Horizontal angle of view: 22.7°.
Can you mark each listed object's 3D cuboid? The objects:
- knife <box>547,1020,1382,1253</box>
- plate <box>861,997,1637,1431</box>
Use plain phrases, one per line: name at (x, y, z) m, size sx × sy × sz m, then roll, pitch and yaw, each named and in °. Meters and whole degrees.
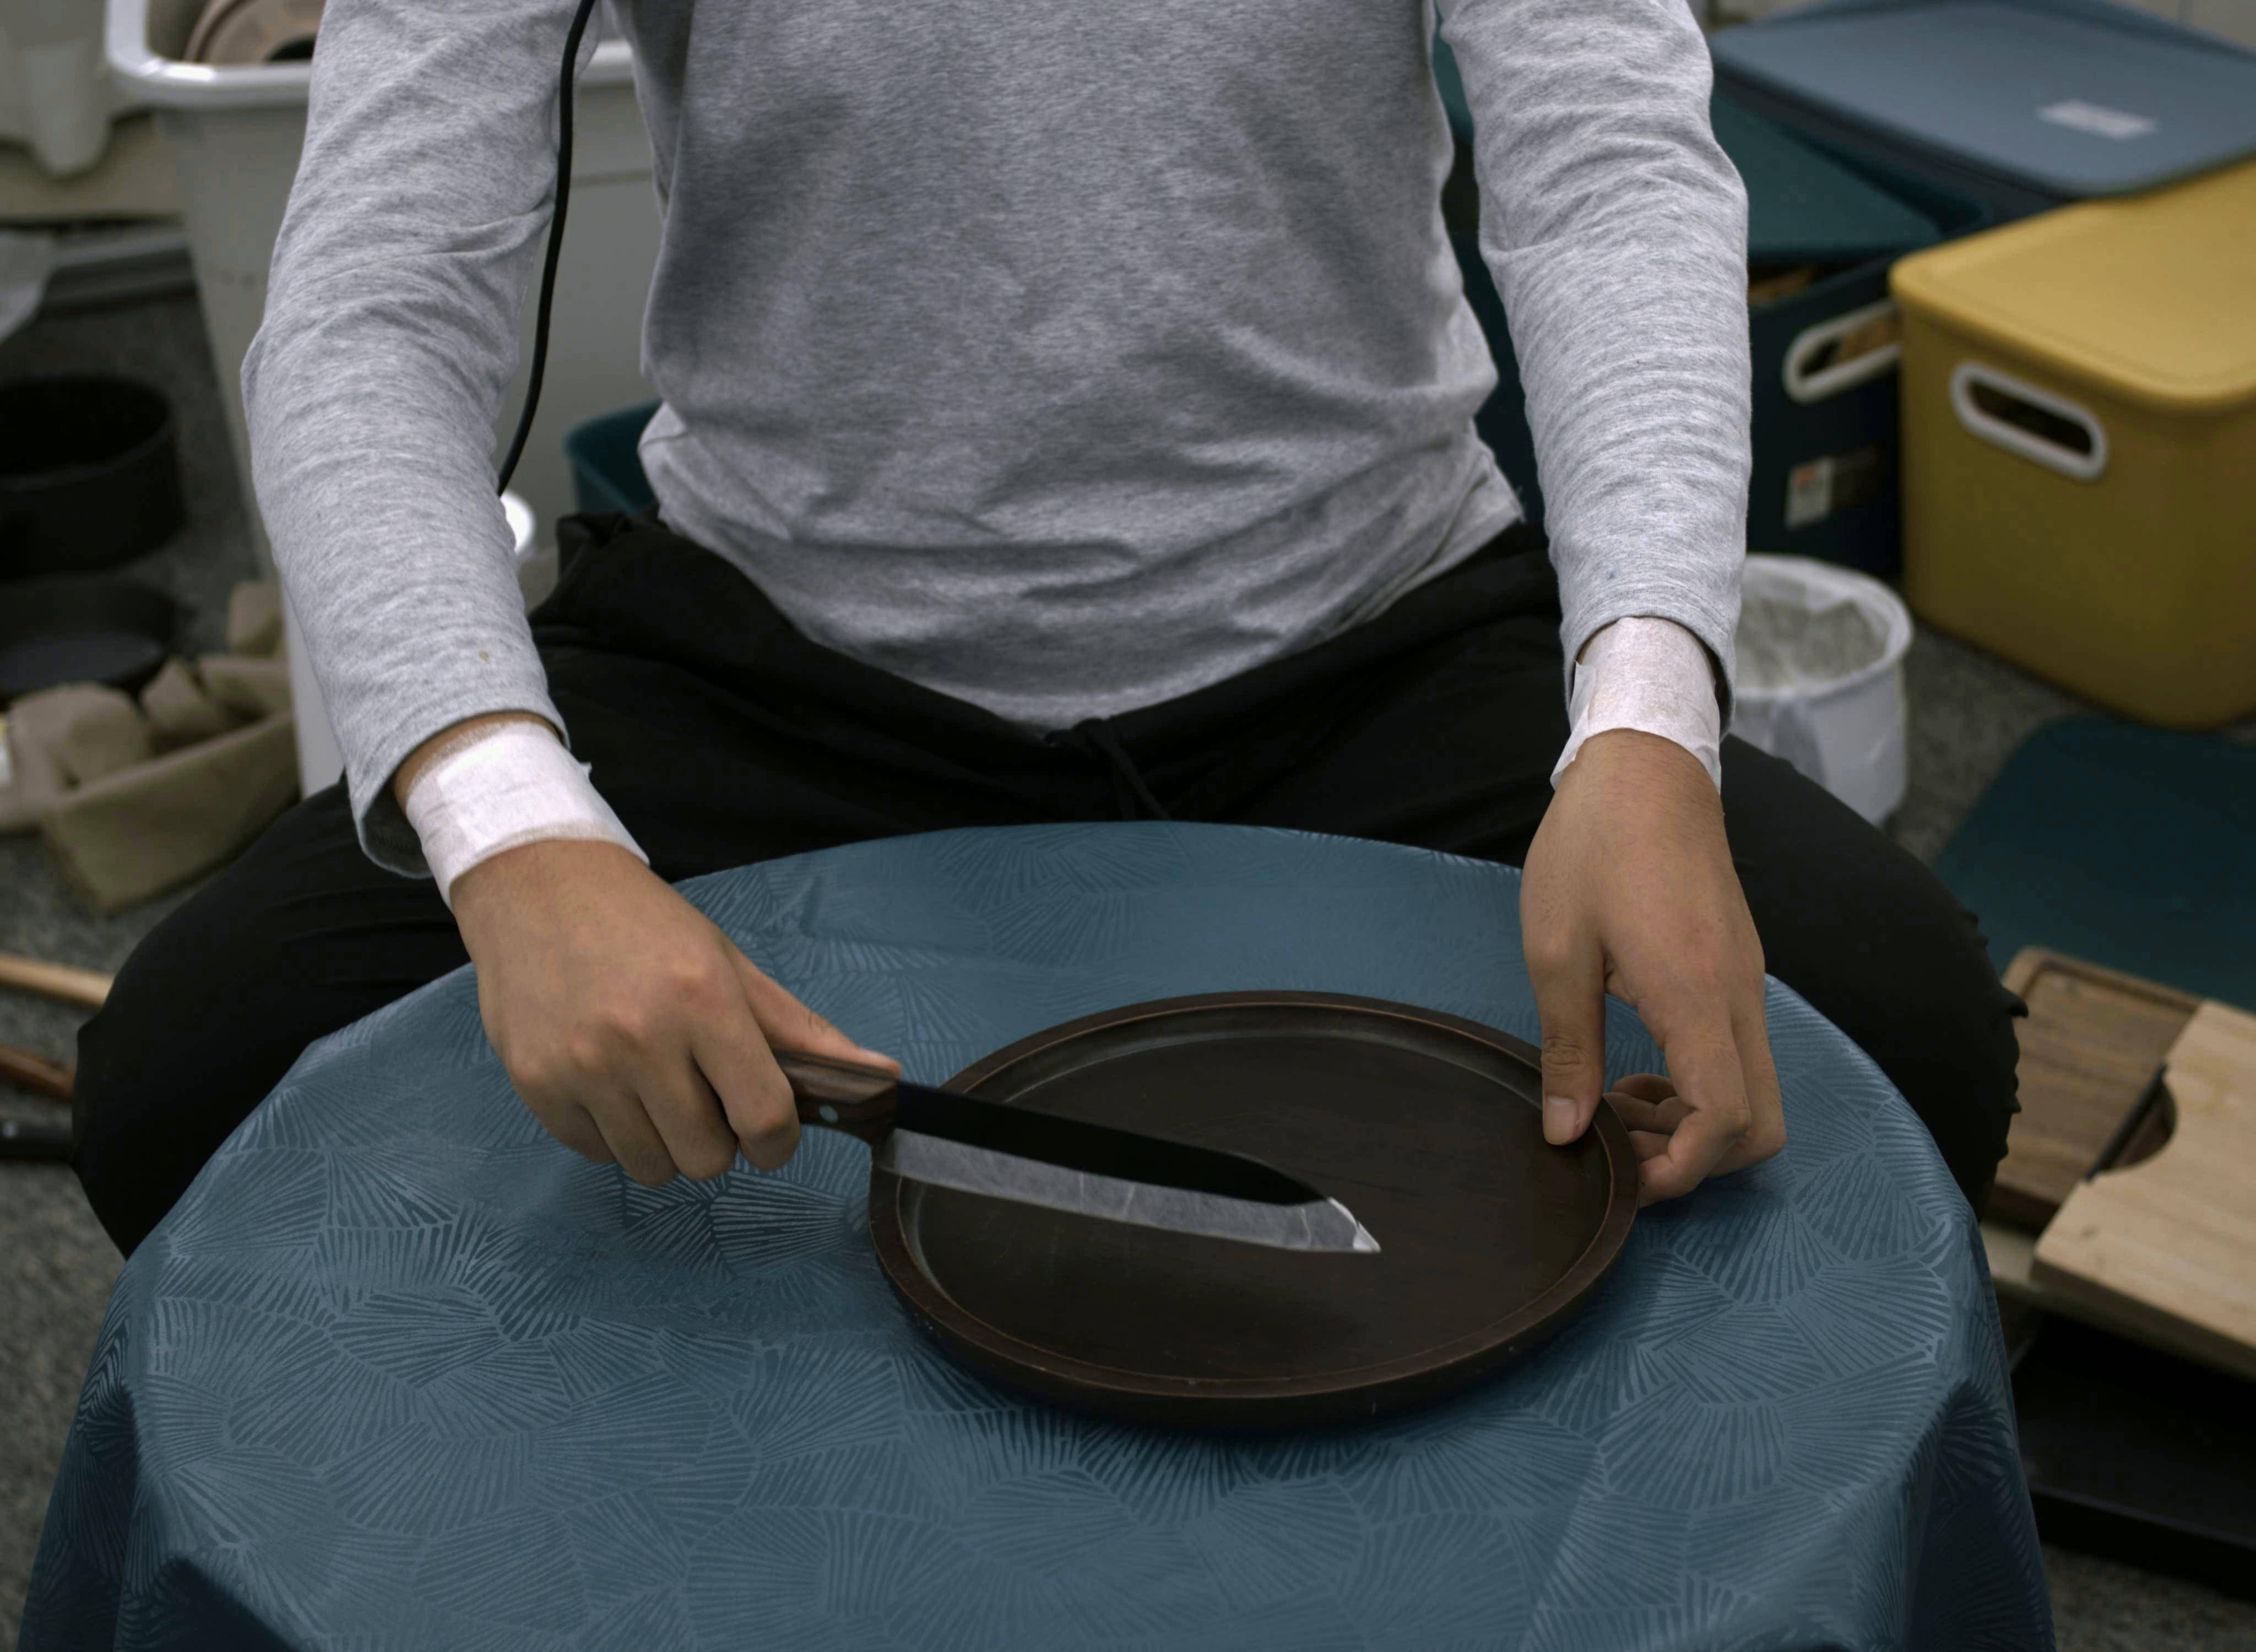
knife at (-0.055, 0.101, 1.804) m, size 0.287 × 0.049 × 0.020 m, roll 12°, pitch 44°, yaw 17°
plate at (0.040, 0.124, 1.827) m, size 0.253 × 0.029 × 0.258 m, roll -4°, pitch 26°, yaw 2°
